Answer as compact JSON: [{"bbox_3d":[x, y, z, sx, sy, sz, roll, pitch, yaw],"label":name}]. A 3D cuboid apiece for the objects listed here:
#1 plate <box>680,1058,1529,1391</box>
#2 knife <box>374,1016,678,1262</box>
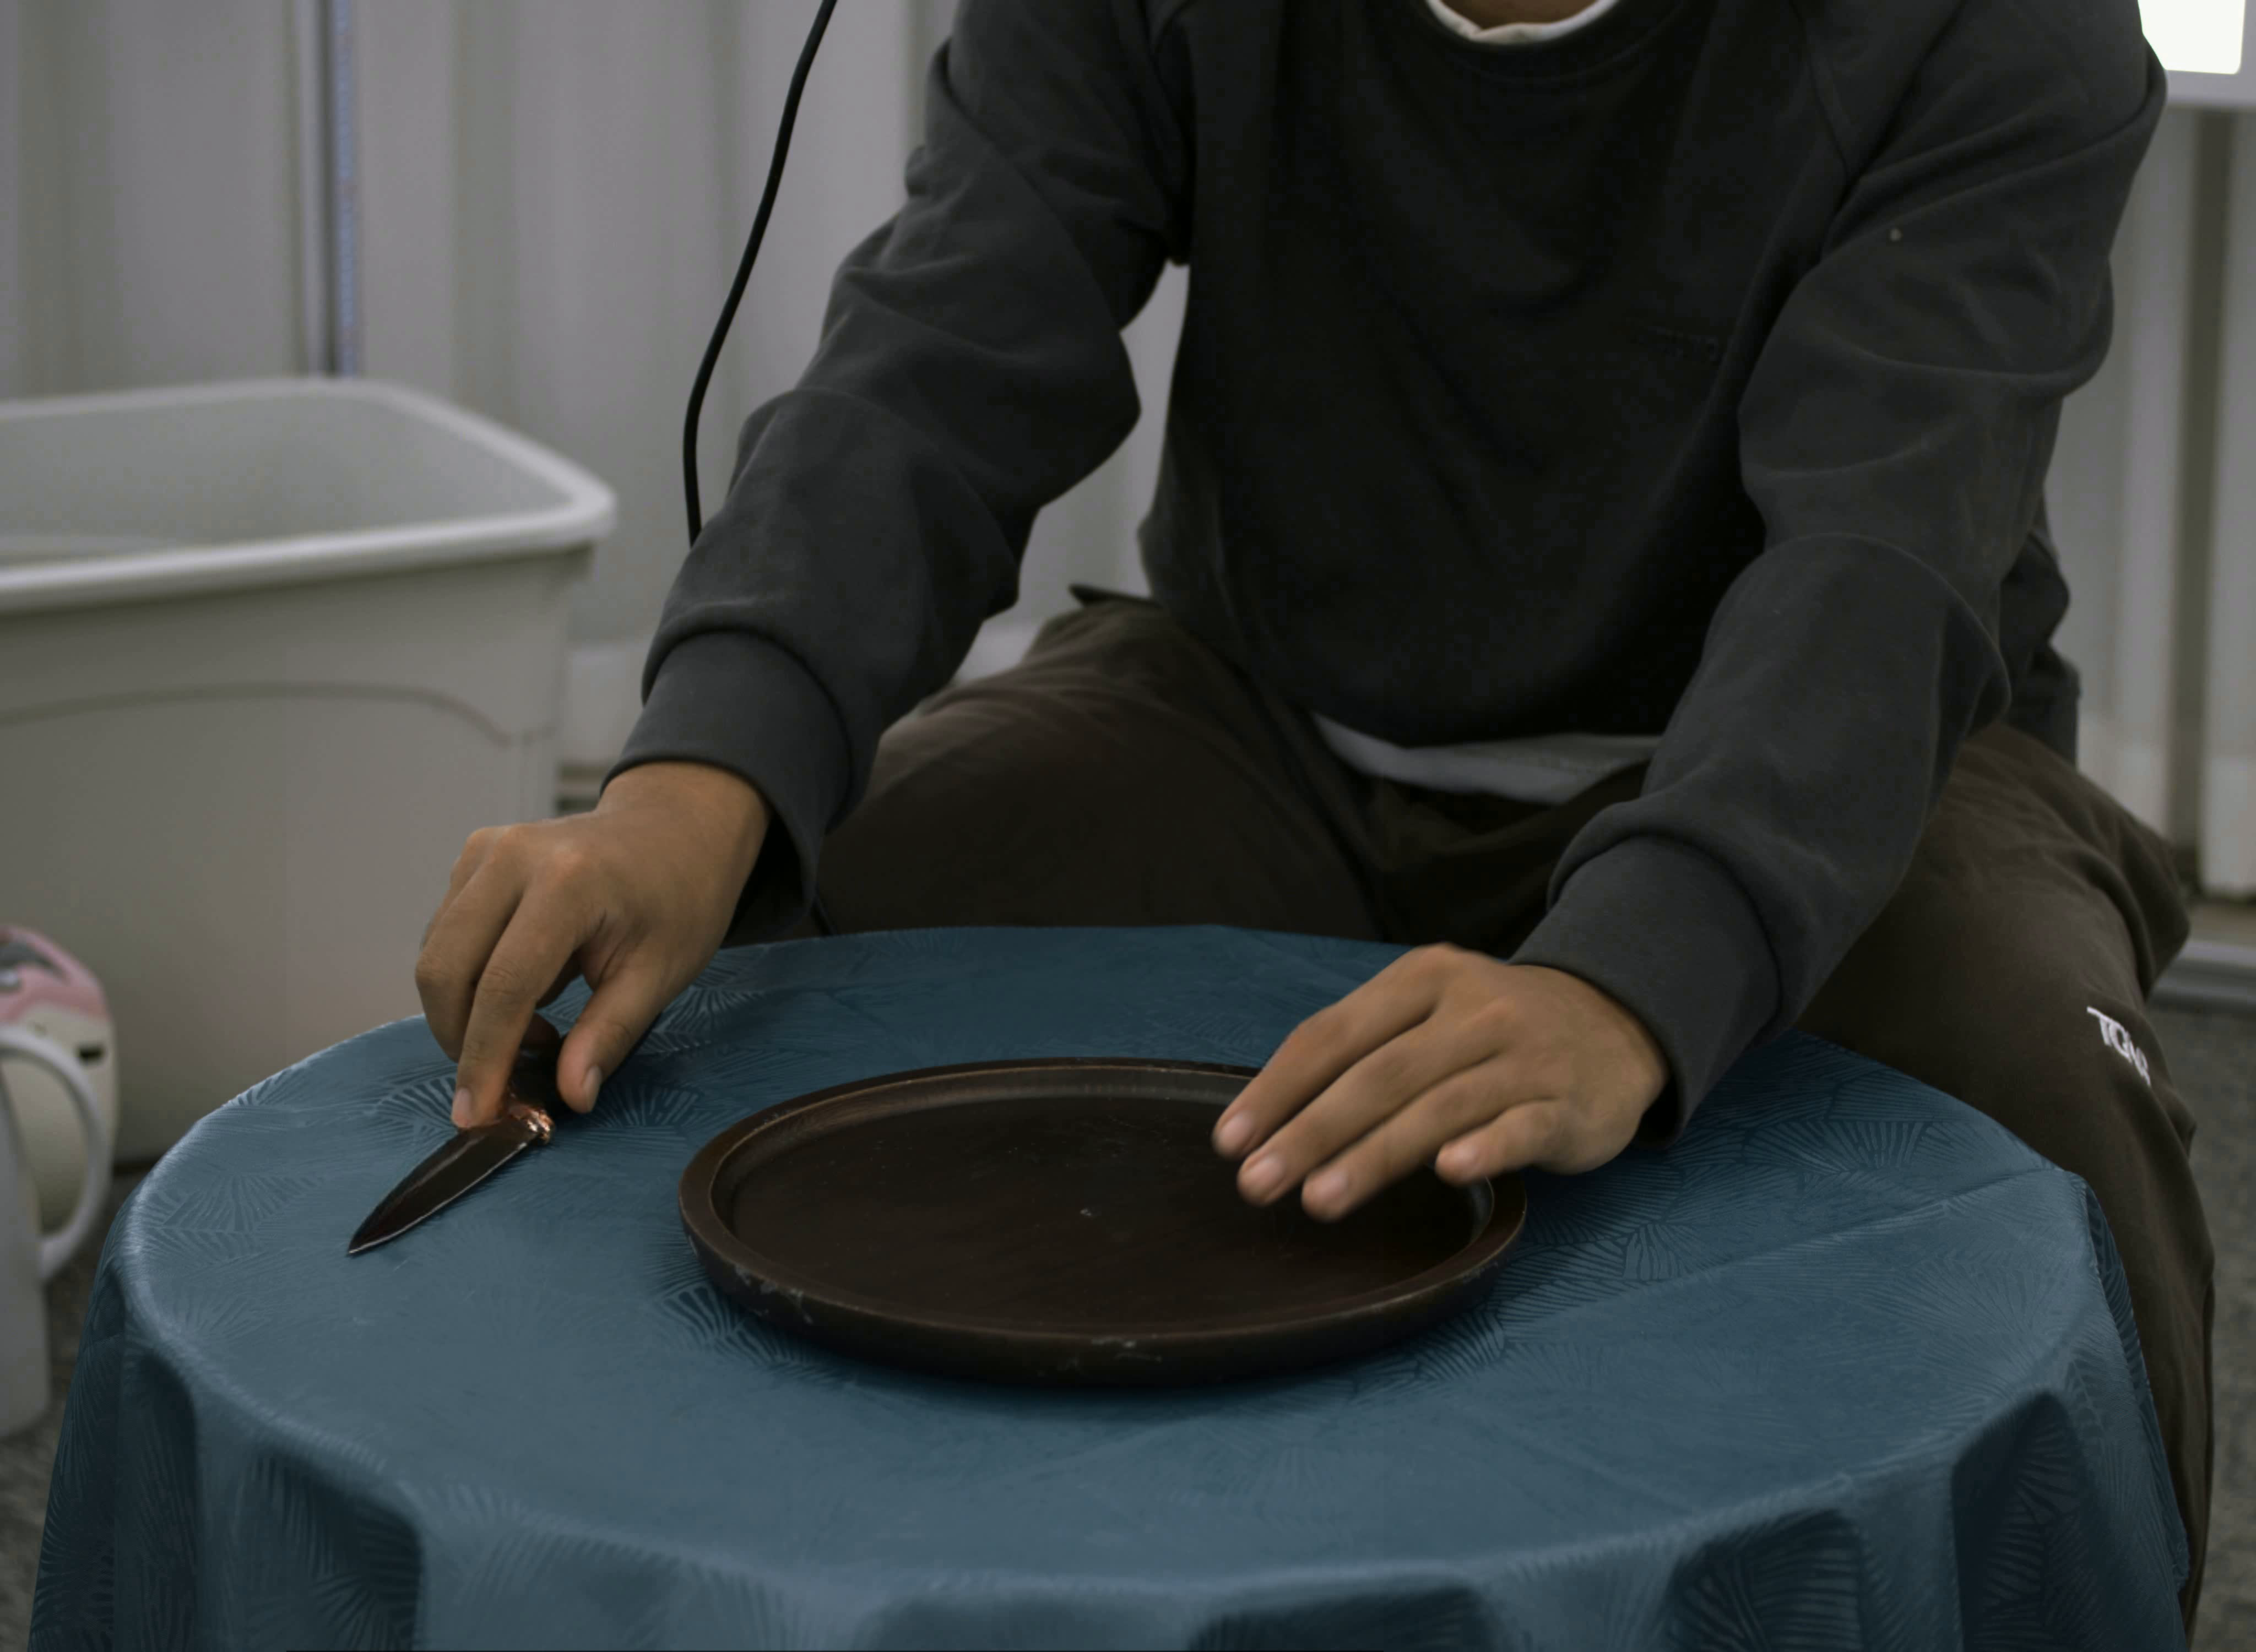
[{"bbox_3d":[-0.007,0.116,1.569,0.254,0.029,0.253,0,14,1],"label":"plate"},{"bbox_3d":[-0.191,0.097,1.654,0.026,0.017,0.225,13,19,15],"label":"knife"}]
